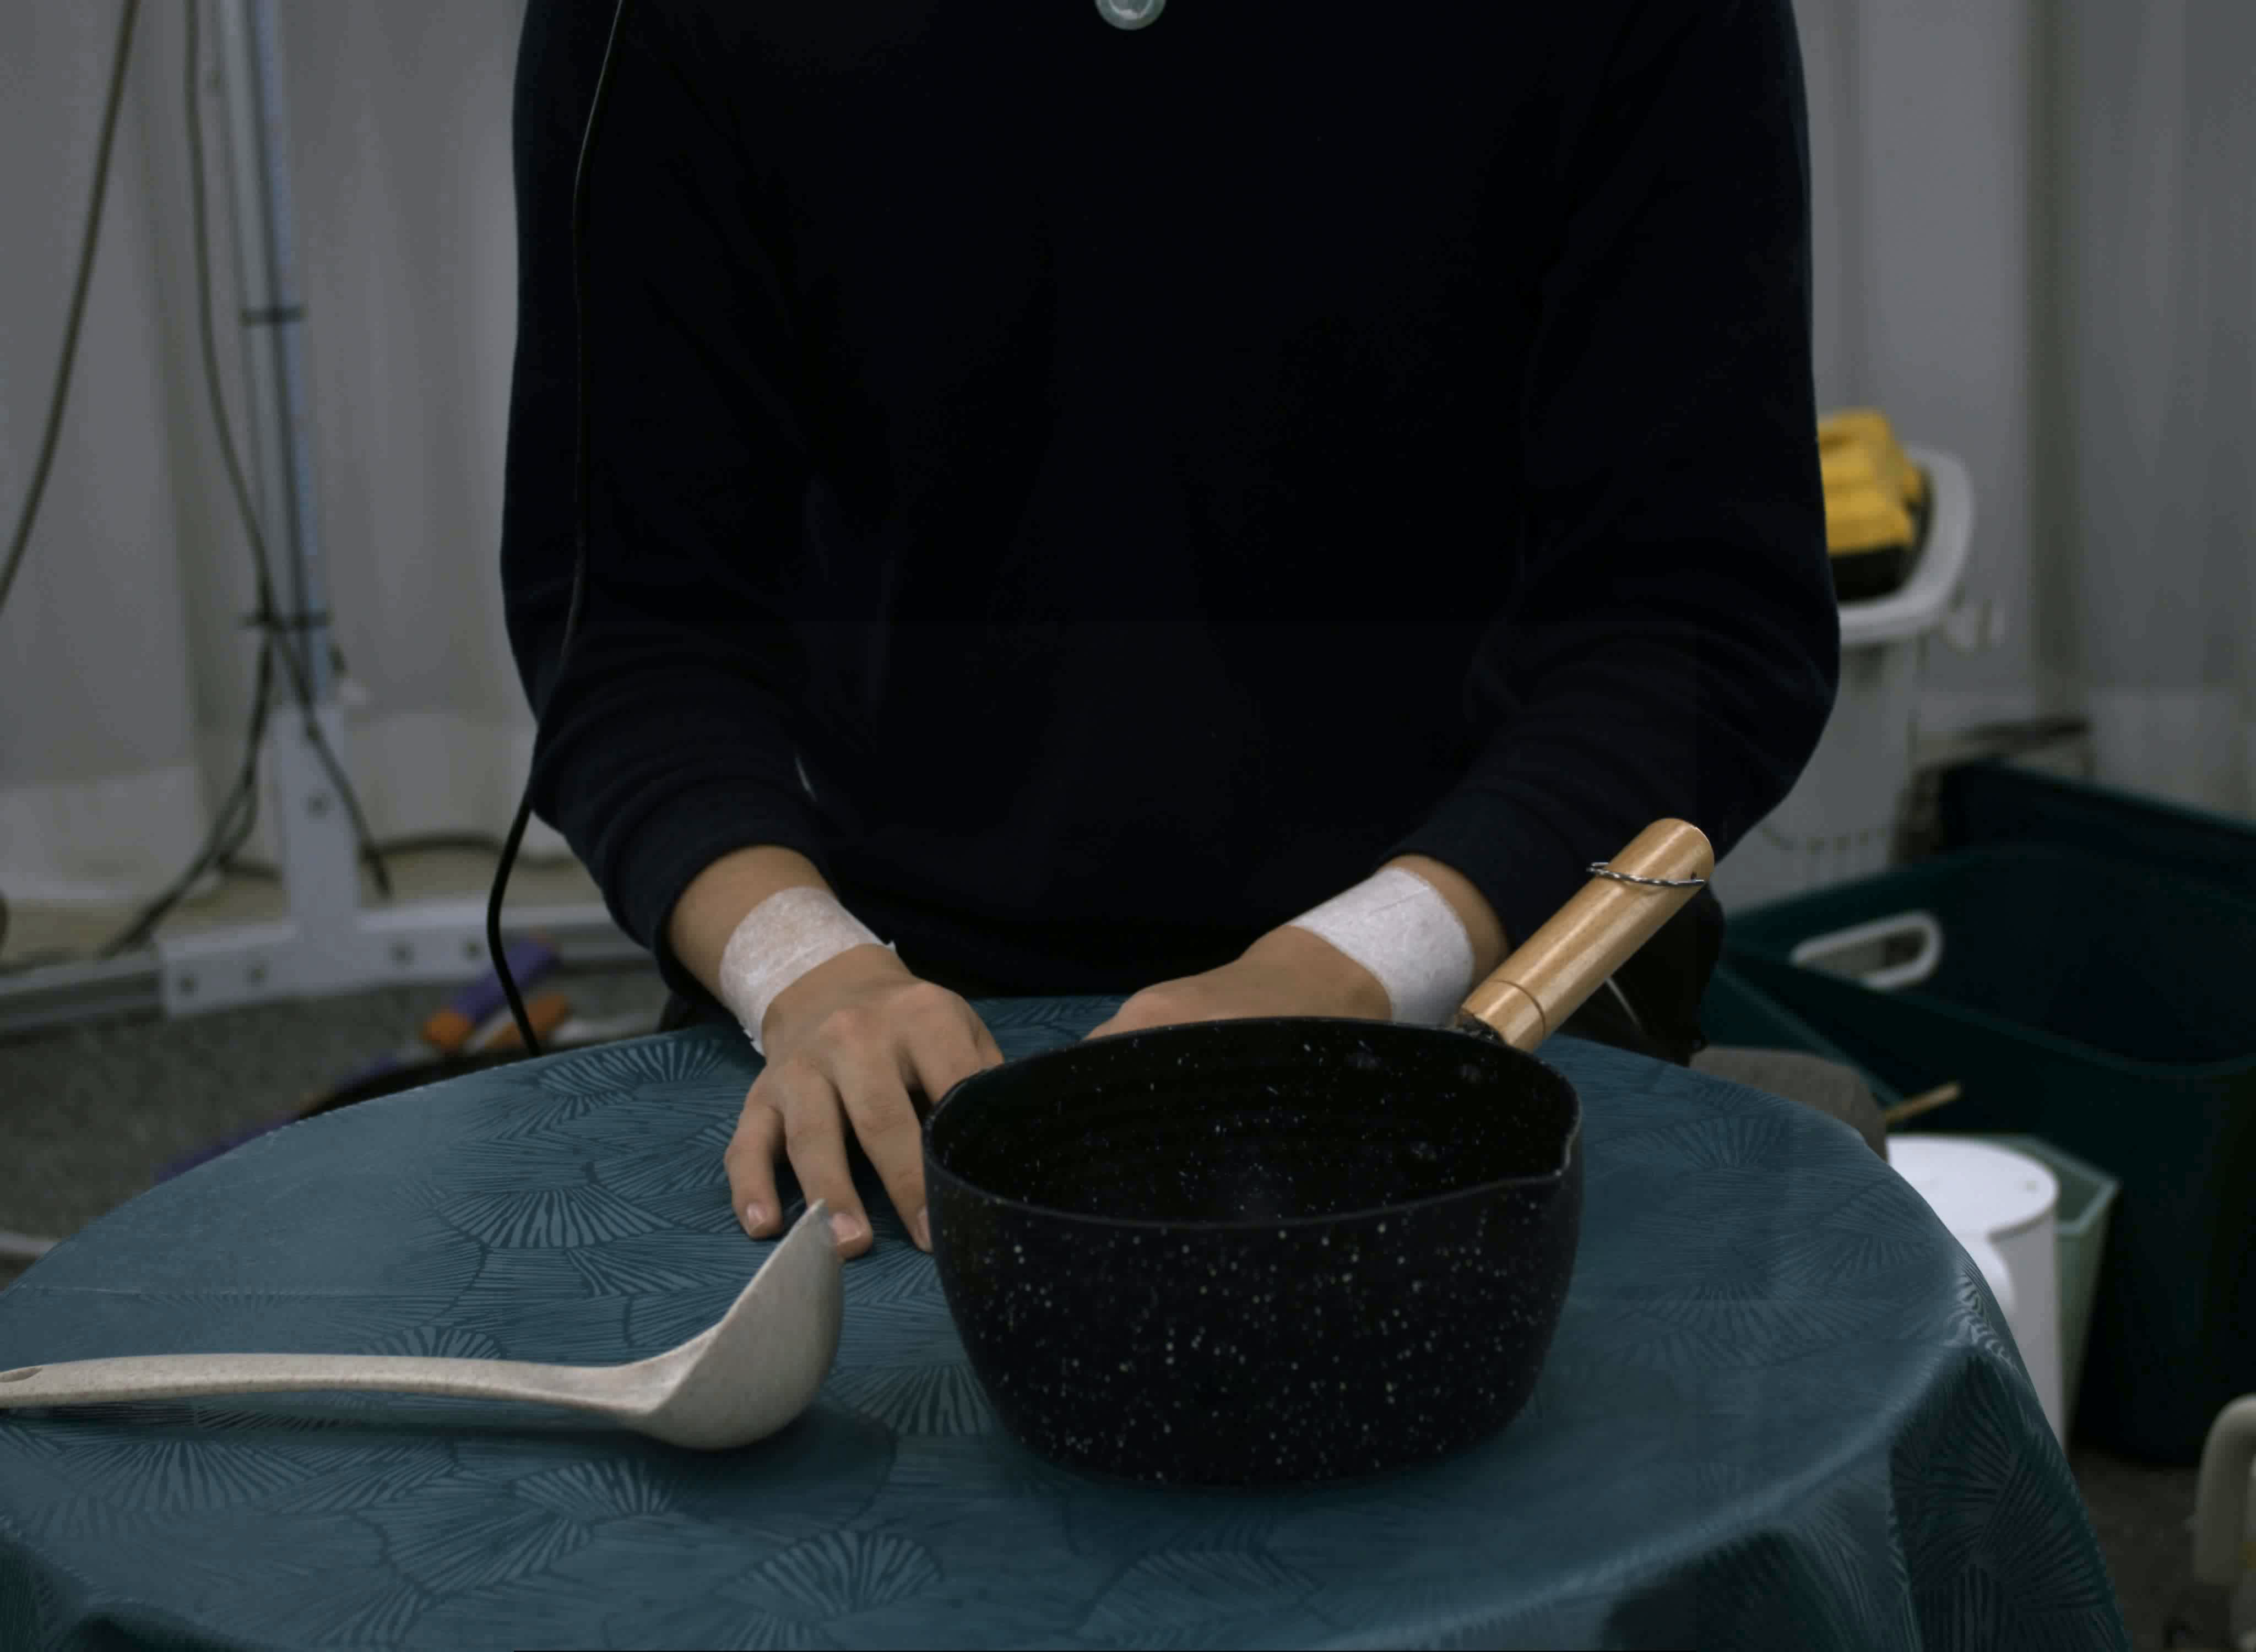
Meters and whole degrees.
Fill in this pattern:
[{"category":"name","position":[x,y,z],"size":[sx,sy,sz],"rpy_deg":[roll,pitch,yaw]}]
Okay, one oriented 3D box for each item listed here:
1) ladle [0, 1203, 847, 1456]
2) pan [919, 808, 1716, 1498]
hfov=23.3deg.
[{"category":"ladle","position":[-0.212,0.137,1.543],"size":[0.274,0.069,0.090],"rpy_deg":[1,20,14]},{"category":"pan","position":[0.079,0.090,1.585],"size":[0.208,0.108,0.343],"rpy_deg":[5,18,33]}]
